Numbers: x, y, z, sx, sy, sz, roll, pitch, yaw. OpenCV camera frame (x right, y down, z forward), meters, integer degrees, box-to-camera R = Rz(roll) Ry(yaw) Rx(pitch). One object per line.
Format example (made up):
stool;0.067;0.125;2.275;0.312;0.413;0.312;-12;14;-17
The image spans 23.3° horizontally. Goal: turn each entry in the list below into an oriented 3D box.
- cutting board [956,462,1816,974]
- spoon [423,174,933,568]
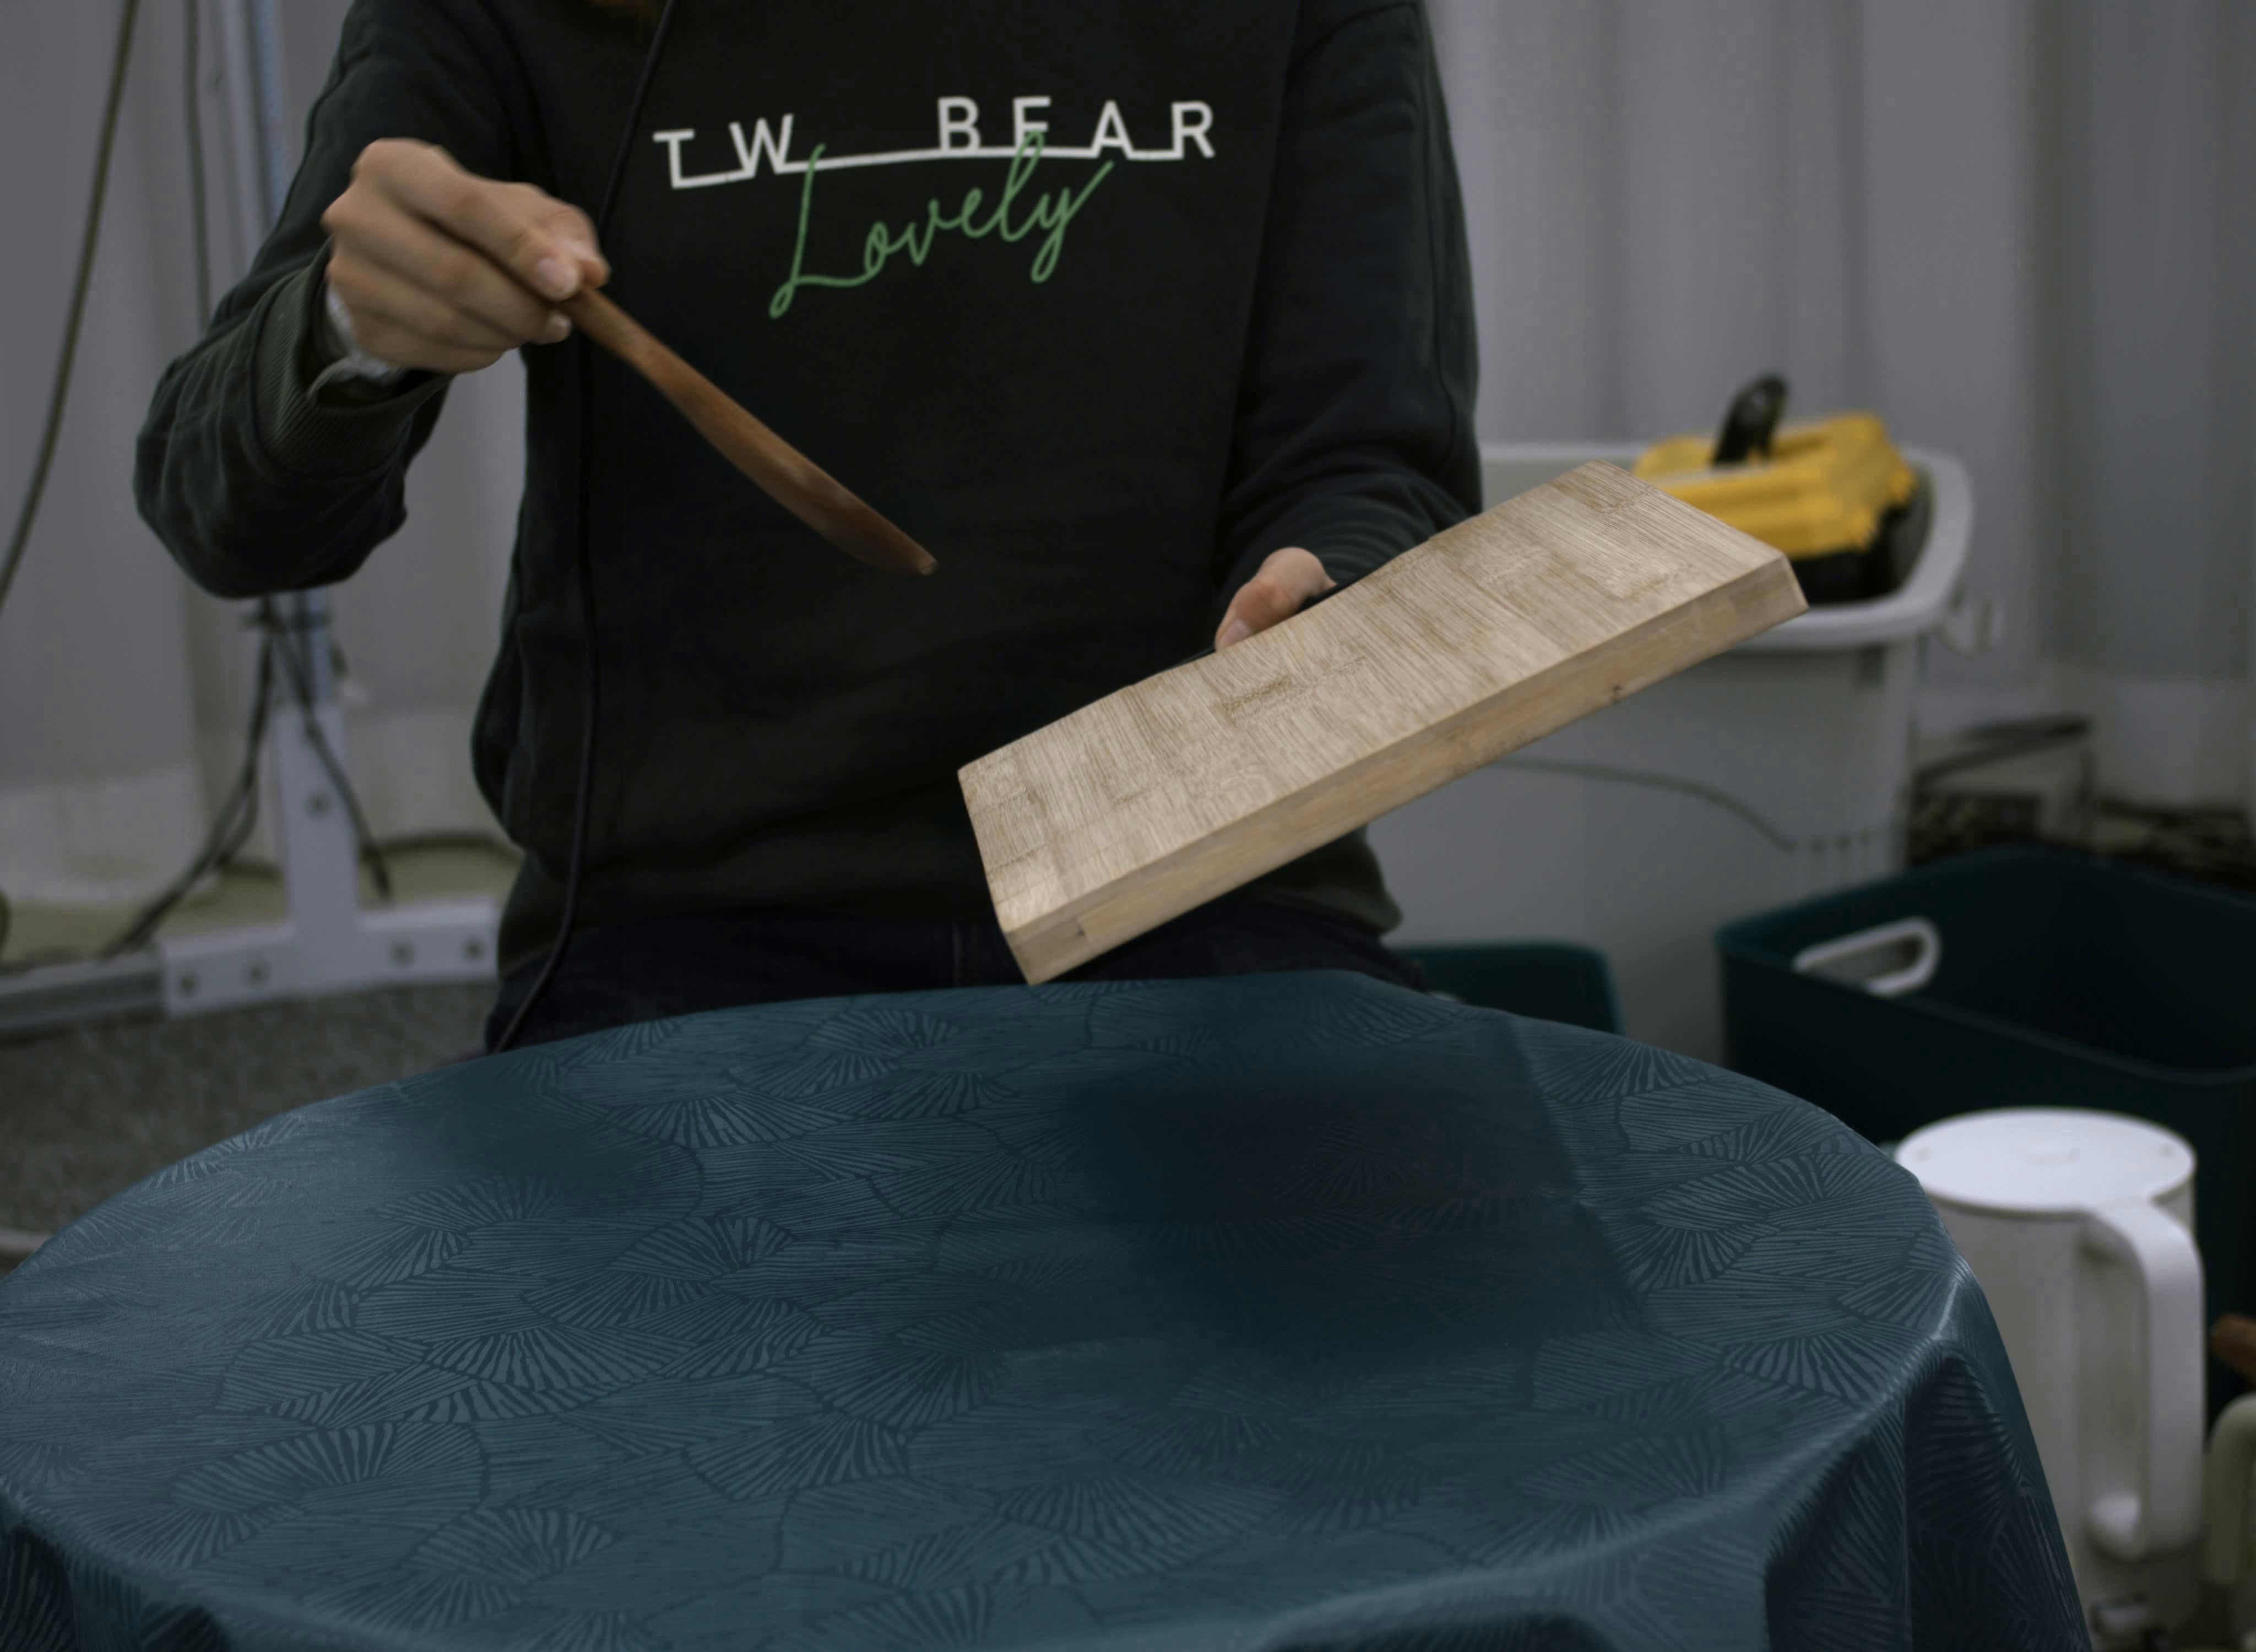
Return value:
cutting board;0.066;-0.040;1.674;0.250;0.023;0.350;-25;9;-1
spoon;-0.142;-0.138;1.684;0.218;0.017;0.075;39;7;26
